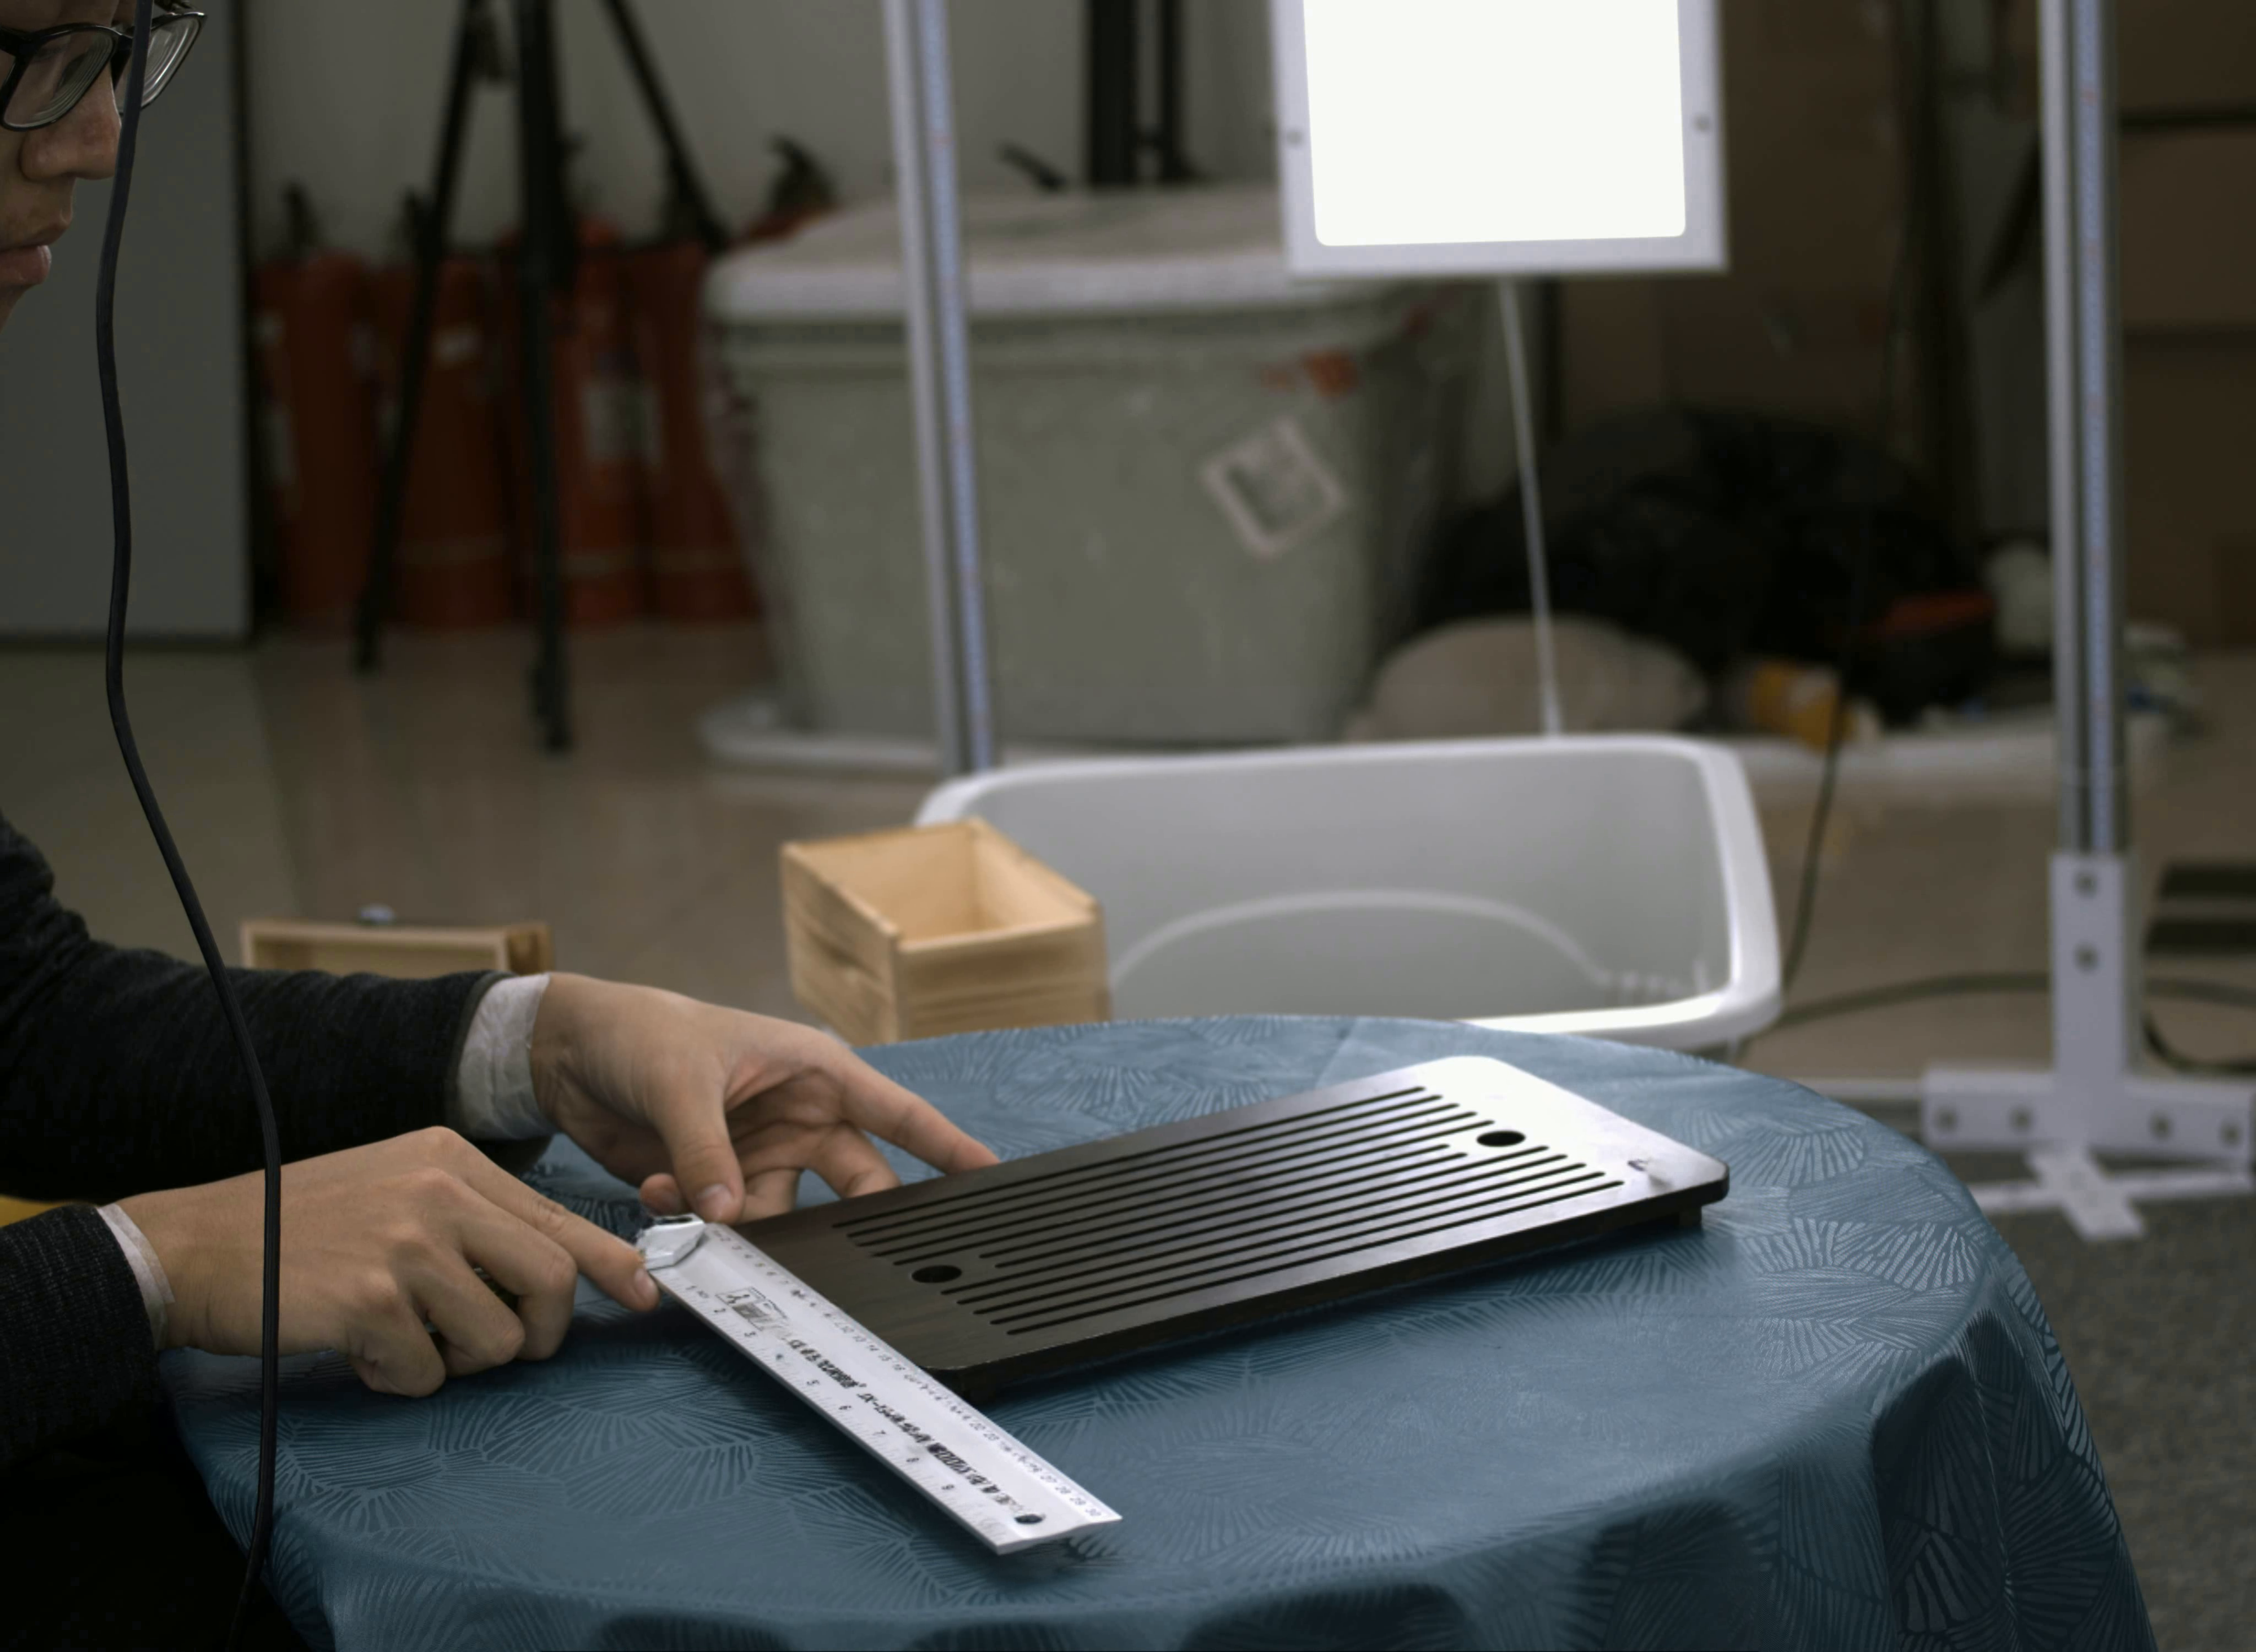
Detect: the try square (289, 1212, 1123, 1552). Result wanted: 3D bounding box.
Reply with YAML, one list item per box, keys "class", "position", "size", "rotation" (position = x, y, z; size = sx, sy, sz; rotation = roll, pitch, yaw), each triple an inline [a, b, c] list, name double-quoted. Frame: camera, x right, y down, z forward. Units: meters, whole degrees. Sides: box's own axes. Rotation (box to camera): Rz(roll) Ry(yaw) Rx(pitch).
- class: "try square"
  position: [-0.136, 0.177, 1.673]
  size: [0.149, 0.016, 0.318]
  rotation: [-12, 17, -23]

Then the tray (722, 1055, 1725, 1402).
- class: "tray"
  position: [0.031, 0.131, 1.823]
  size: [0.299, 0.019, 0.173]
  rotation: [-12, 17, -24]
